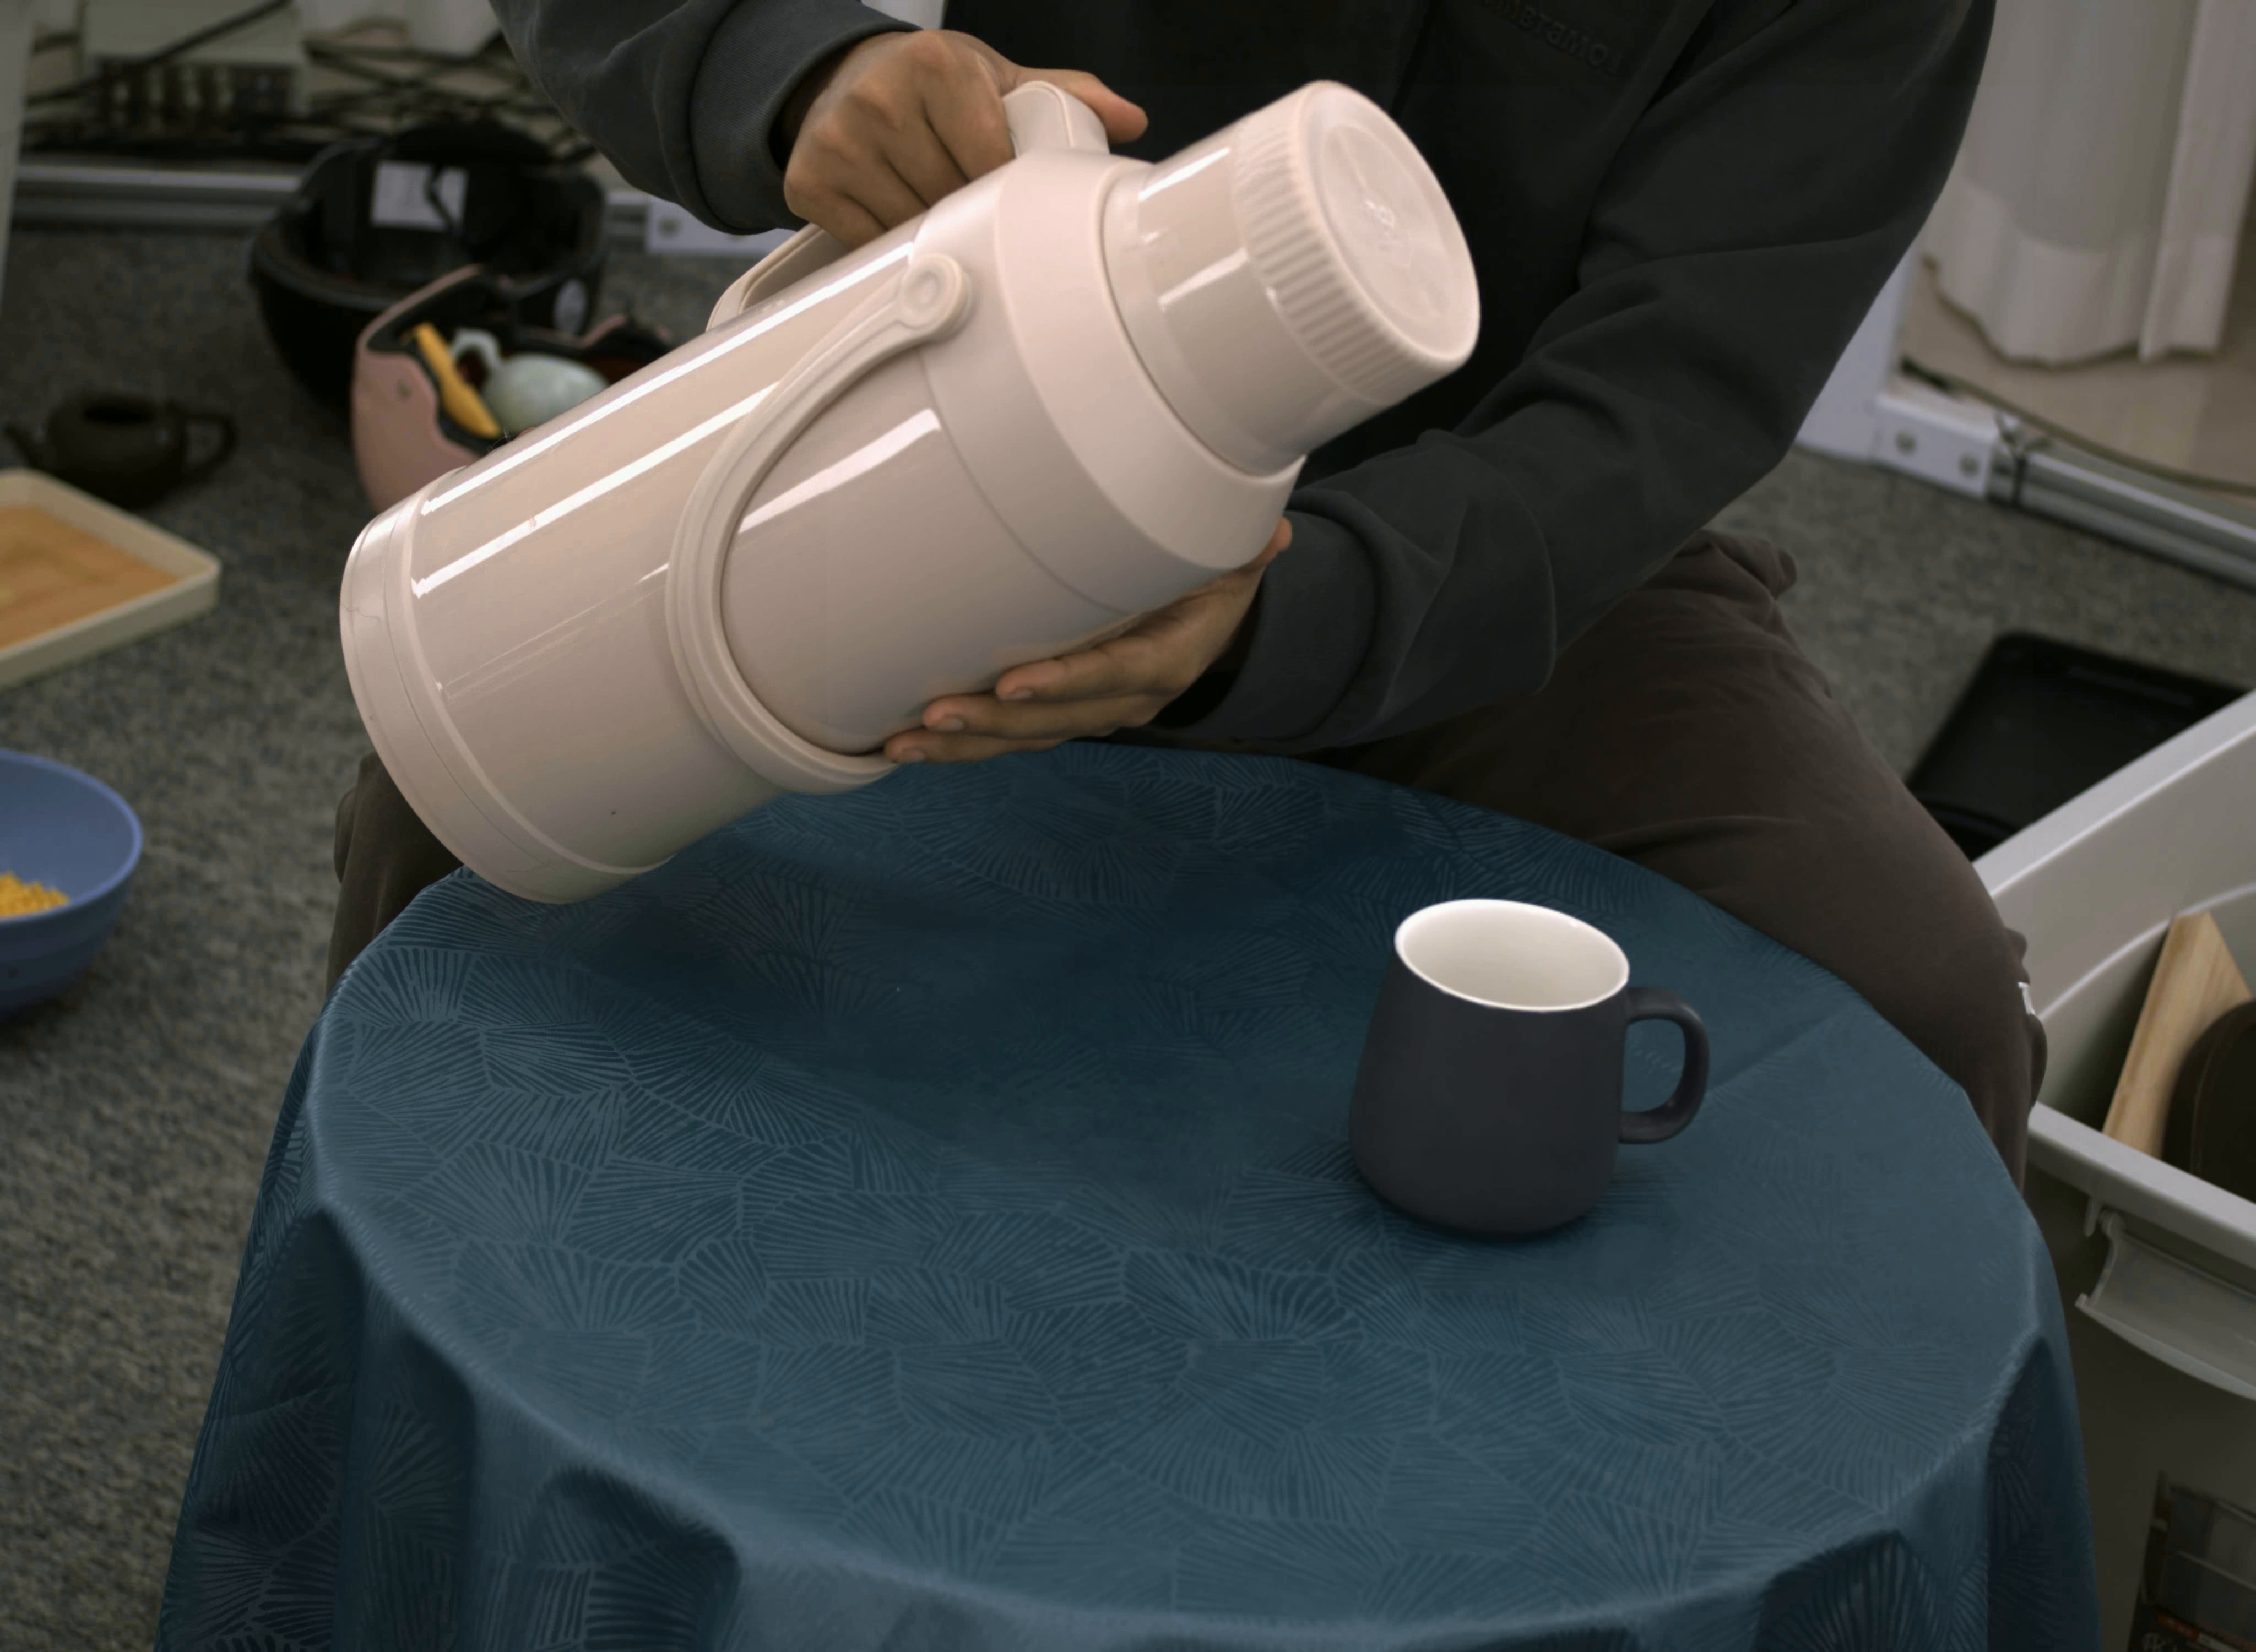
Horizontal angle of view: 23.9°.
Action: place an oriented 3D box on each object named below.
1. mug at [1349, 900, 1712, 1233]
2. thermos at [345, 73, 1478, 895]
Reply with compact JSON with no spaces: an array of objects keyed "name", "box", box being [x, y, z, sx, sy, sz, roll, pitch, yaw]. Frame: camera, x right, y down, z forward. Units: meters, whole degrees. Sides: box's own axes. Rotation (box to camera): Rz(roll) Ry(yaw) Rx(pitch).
[{"name":"mug","box":[0.140,0.083,1.820,0.122,0.089,0.094,2,27,-10]},{"name":"thermos","box":[-0.075,-0.134,1.834,0.173,0.406,0.209,24,48,-48]}]
